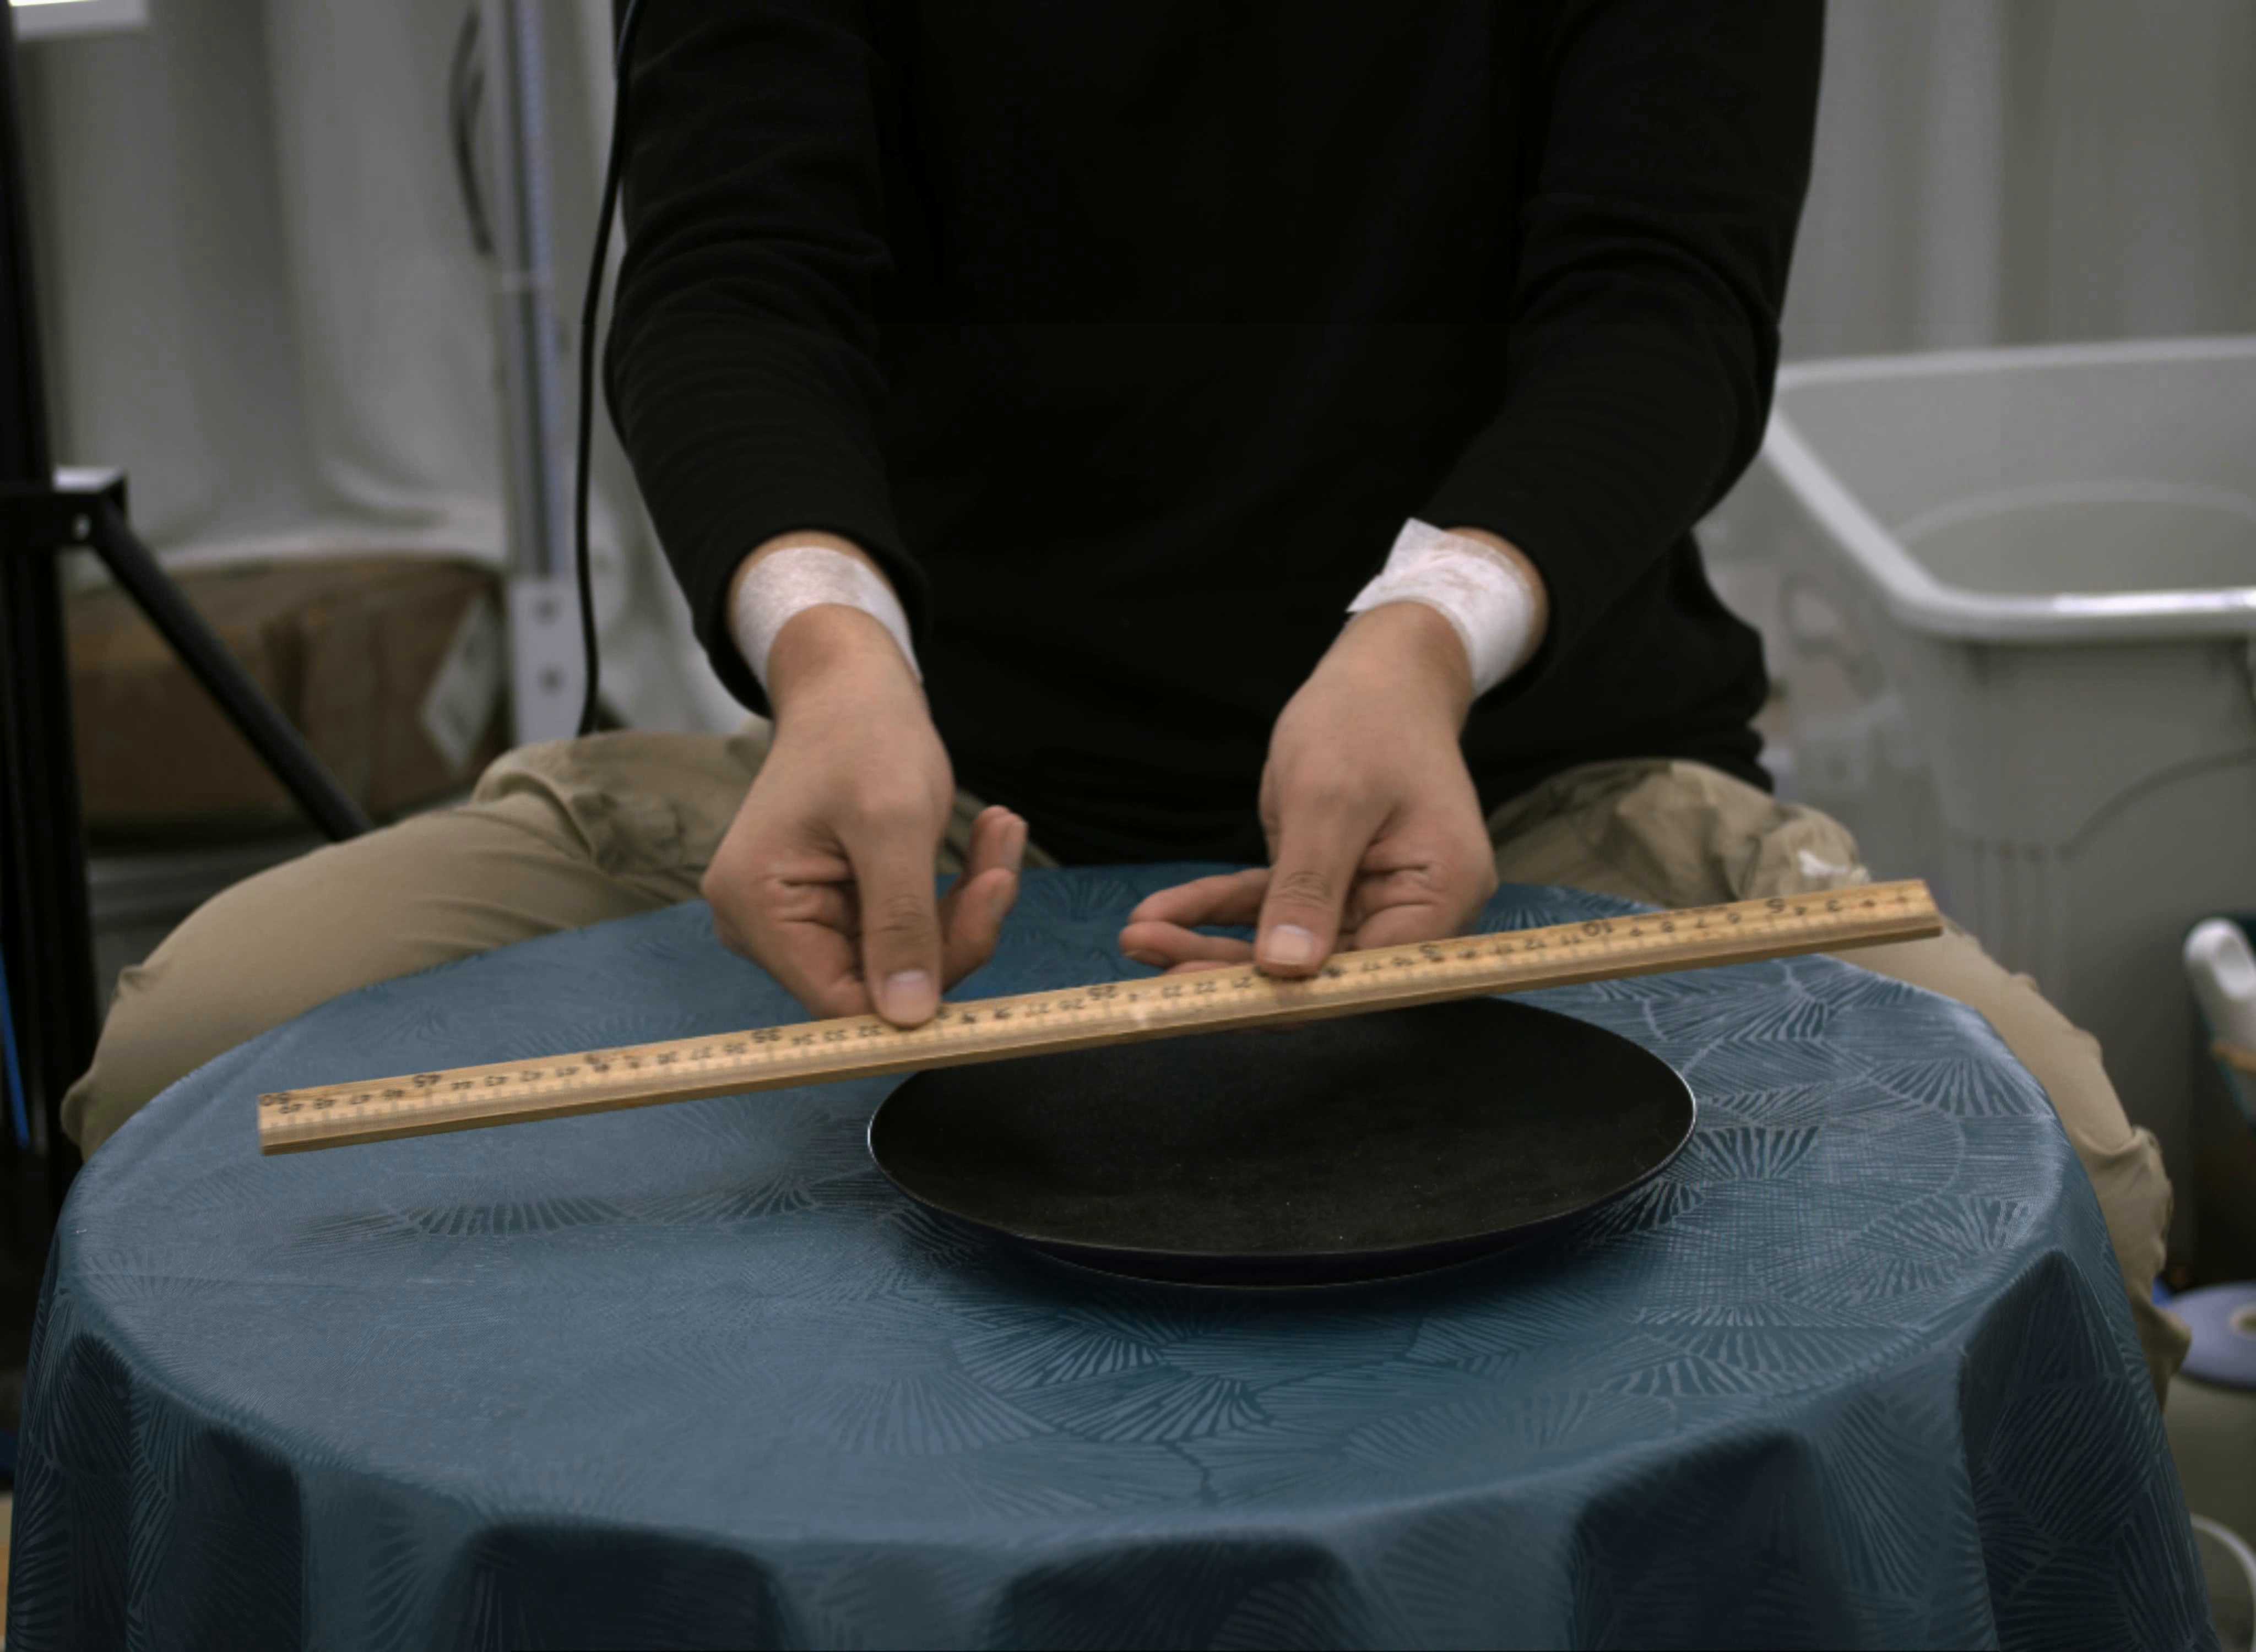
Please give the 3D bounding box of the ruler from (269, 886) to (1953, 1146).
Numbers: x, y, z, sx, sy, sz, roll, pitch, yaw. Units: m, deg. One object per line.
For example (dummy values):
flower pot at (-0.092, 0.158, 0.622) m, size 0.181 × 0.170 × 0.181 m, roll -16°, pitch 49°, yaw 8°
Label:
ruler at (-0.003, 0.055, 1.565) m, size 0.497 × 0.006 × 0.027 m, roll -7°, pitch 33°, yaw -2°

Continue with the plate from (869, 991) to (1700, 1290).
plate at (0.046, 0.094, 1.556) m, size 0.243 × 0.023 × 0.245 m, roll -3°, pitch 15°, yaw -1°
